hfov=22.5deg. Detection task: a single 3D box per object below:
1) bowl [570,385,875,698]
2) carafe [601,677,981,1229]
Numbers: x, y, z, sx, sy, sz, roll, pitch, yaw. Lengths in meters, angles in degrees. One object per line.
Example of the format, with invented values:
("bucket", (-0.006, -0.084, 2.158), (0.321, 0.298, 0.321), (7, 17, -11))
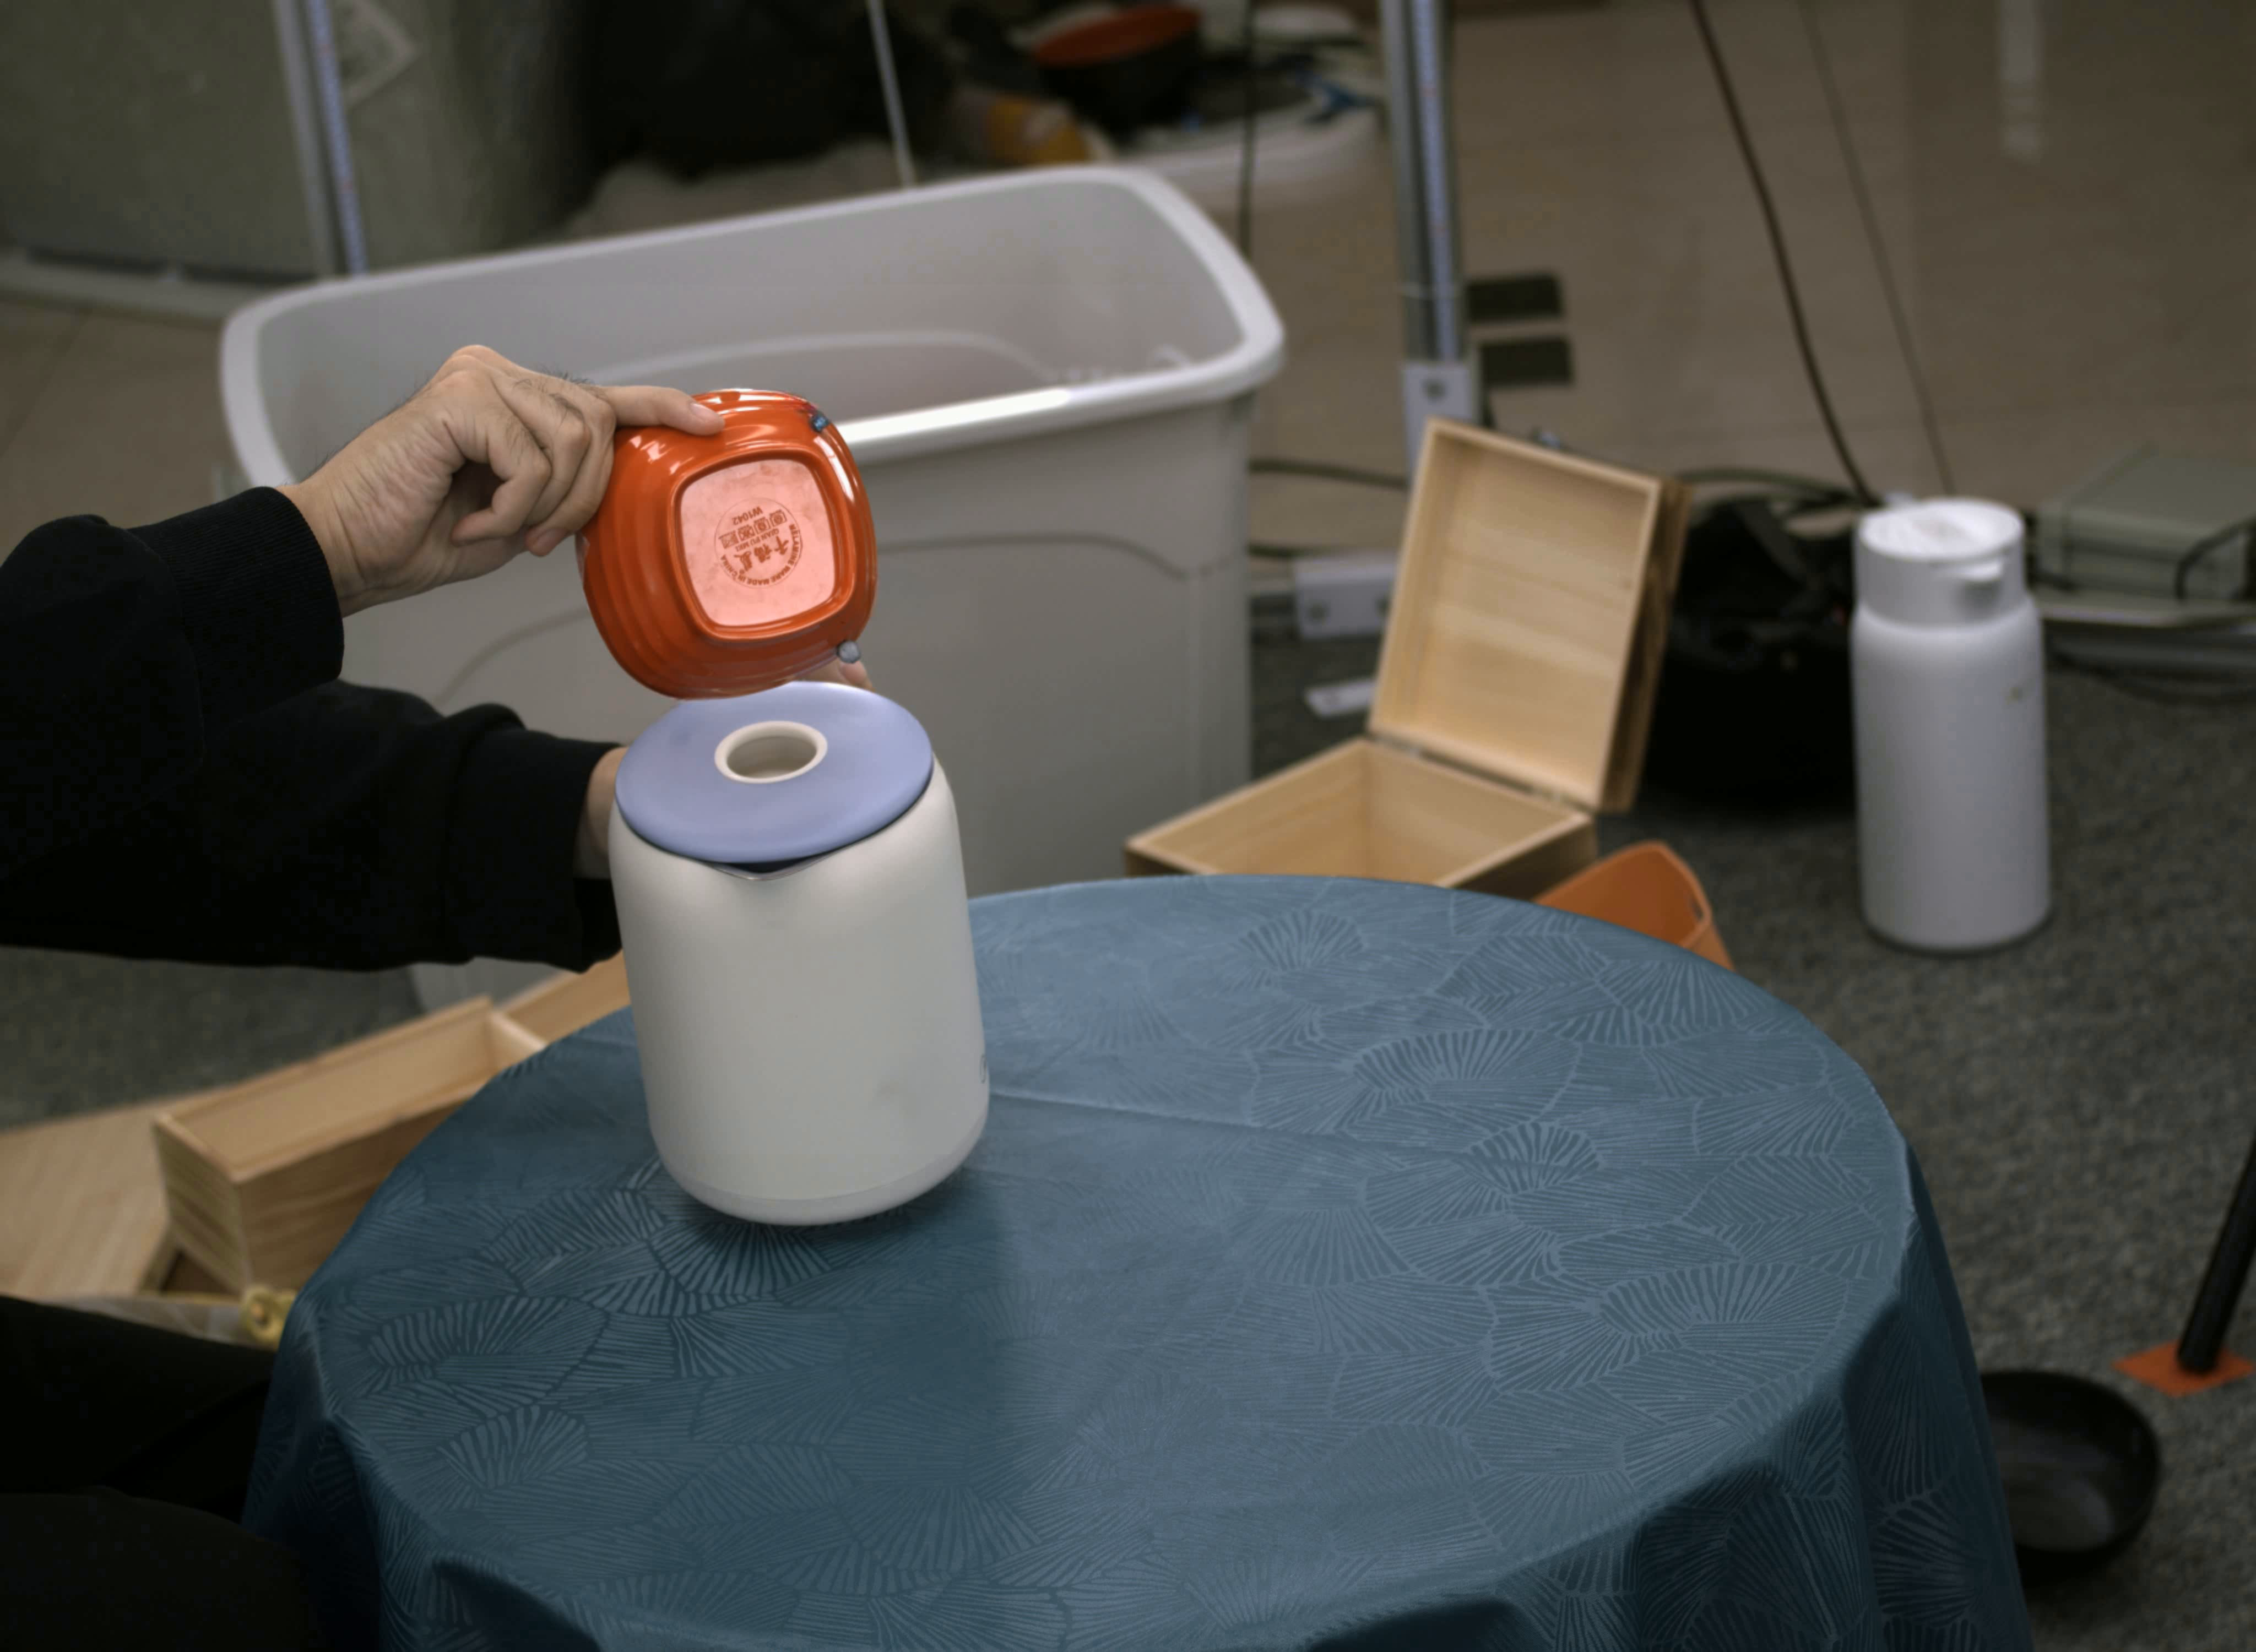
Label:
("bowl", (-0.138, -0.100, 2.006), (0.118, 0.120, 0.051), (-14, 11, -17))
("carafe", (-0.127, 0.035, 2.148), (0.132, 0.186, 0.188), (-4, 32, 0))
